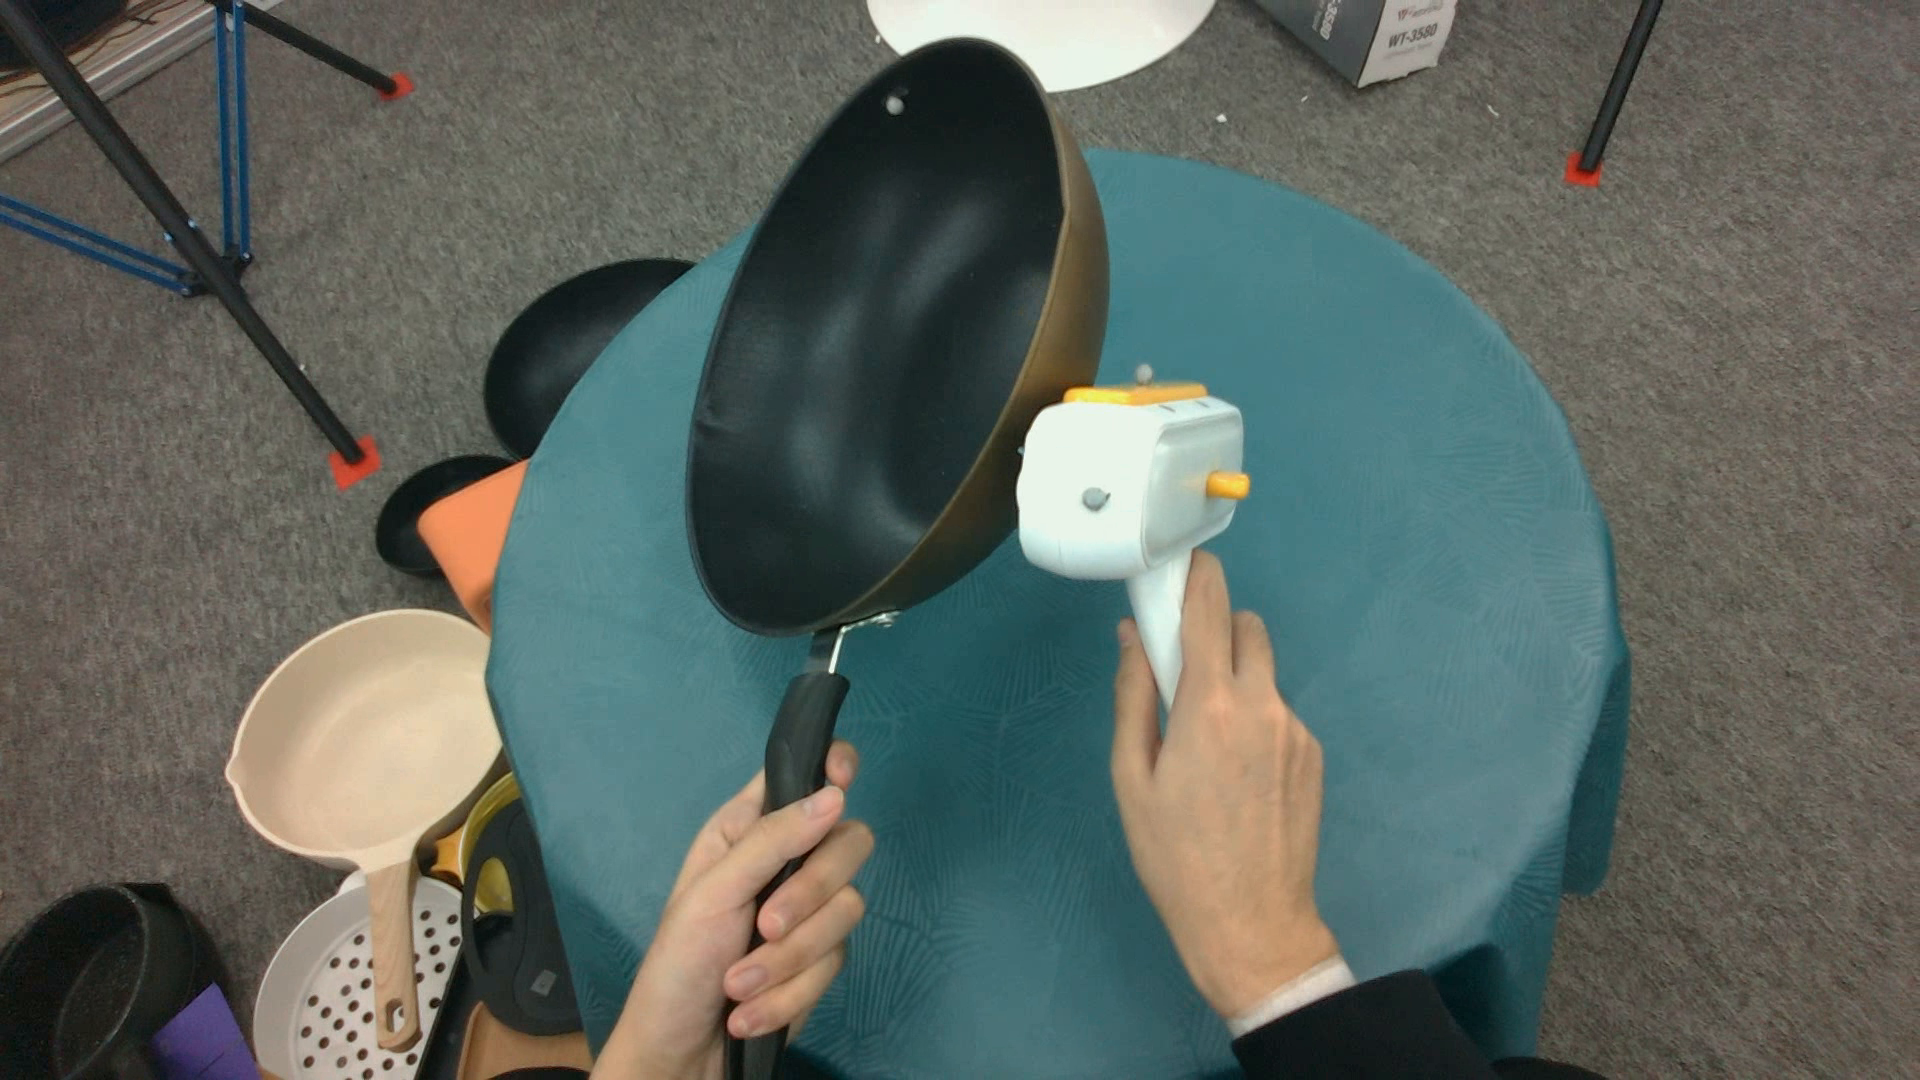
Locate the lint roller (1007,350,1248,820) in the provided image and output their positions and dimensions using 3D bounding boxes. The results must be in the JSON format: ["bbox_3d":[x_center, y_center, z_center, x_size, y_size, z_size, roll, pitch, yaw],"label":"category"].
[{"bbox_3d":[0.081,0.022,0.564,0.074,0.193,0.192,-4,100,17],"label":"lint roller"}]

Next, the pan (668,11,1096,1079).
[{"bbox_3d":[-0.039,-0.006,0.607,0.287,0.087,0.464,-16,63,48],"label":"pan"}]
